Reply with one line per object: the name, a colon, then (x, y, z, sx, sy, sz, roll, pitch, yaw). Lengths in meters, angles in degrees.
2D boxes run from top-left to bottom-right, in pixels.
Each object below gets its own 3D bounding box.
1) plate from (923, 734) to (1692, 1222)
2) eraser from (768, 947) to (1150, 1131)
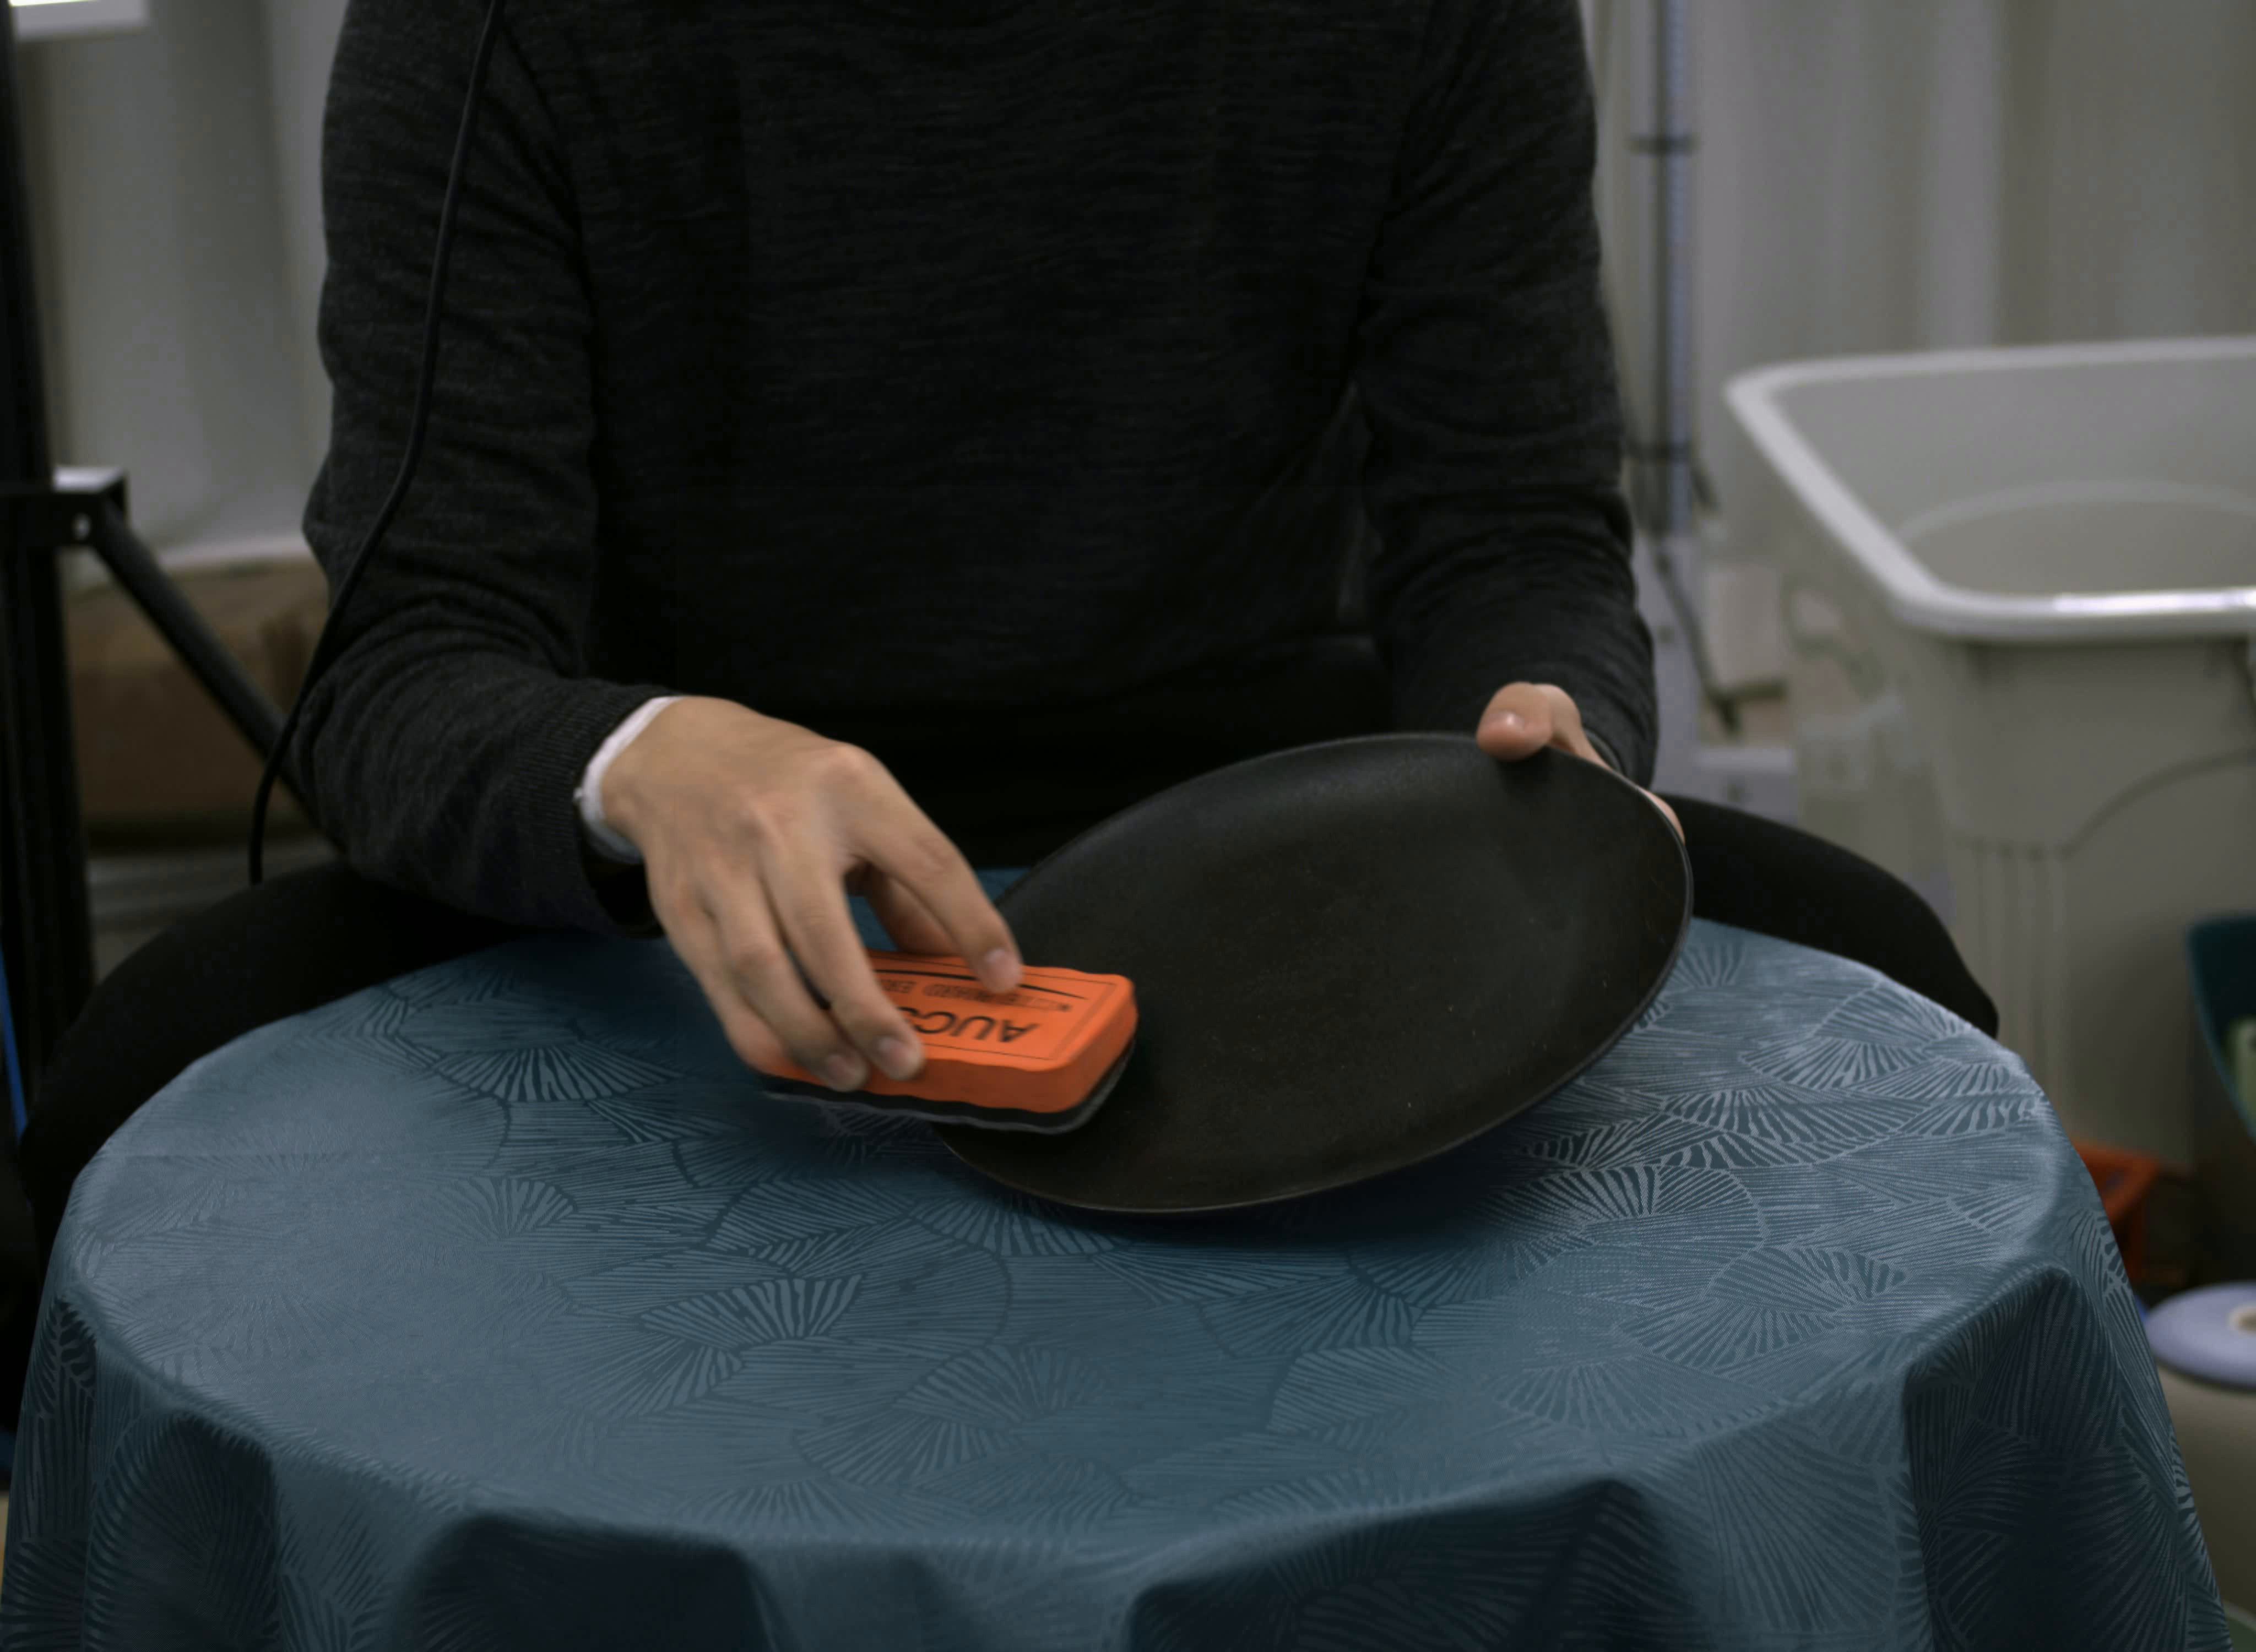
plate: (0.054, 0.048, 1.602, 0.245, 0.023, 0.246, -16, 30, 8)
eraser: (-0.050, 0.064, 1.599, 0.110, 0.023, 0.058, 6, 29, 28)
